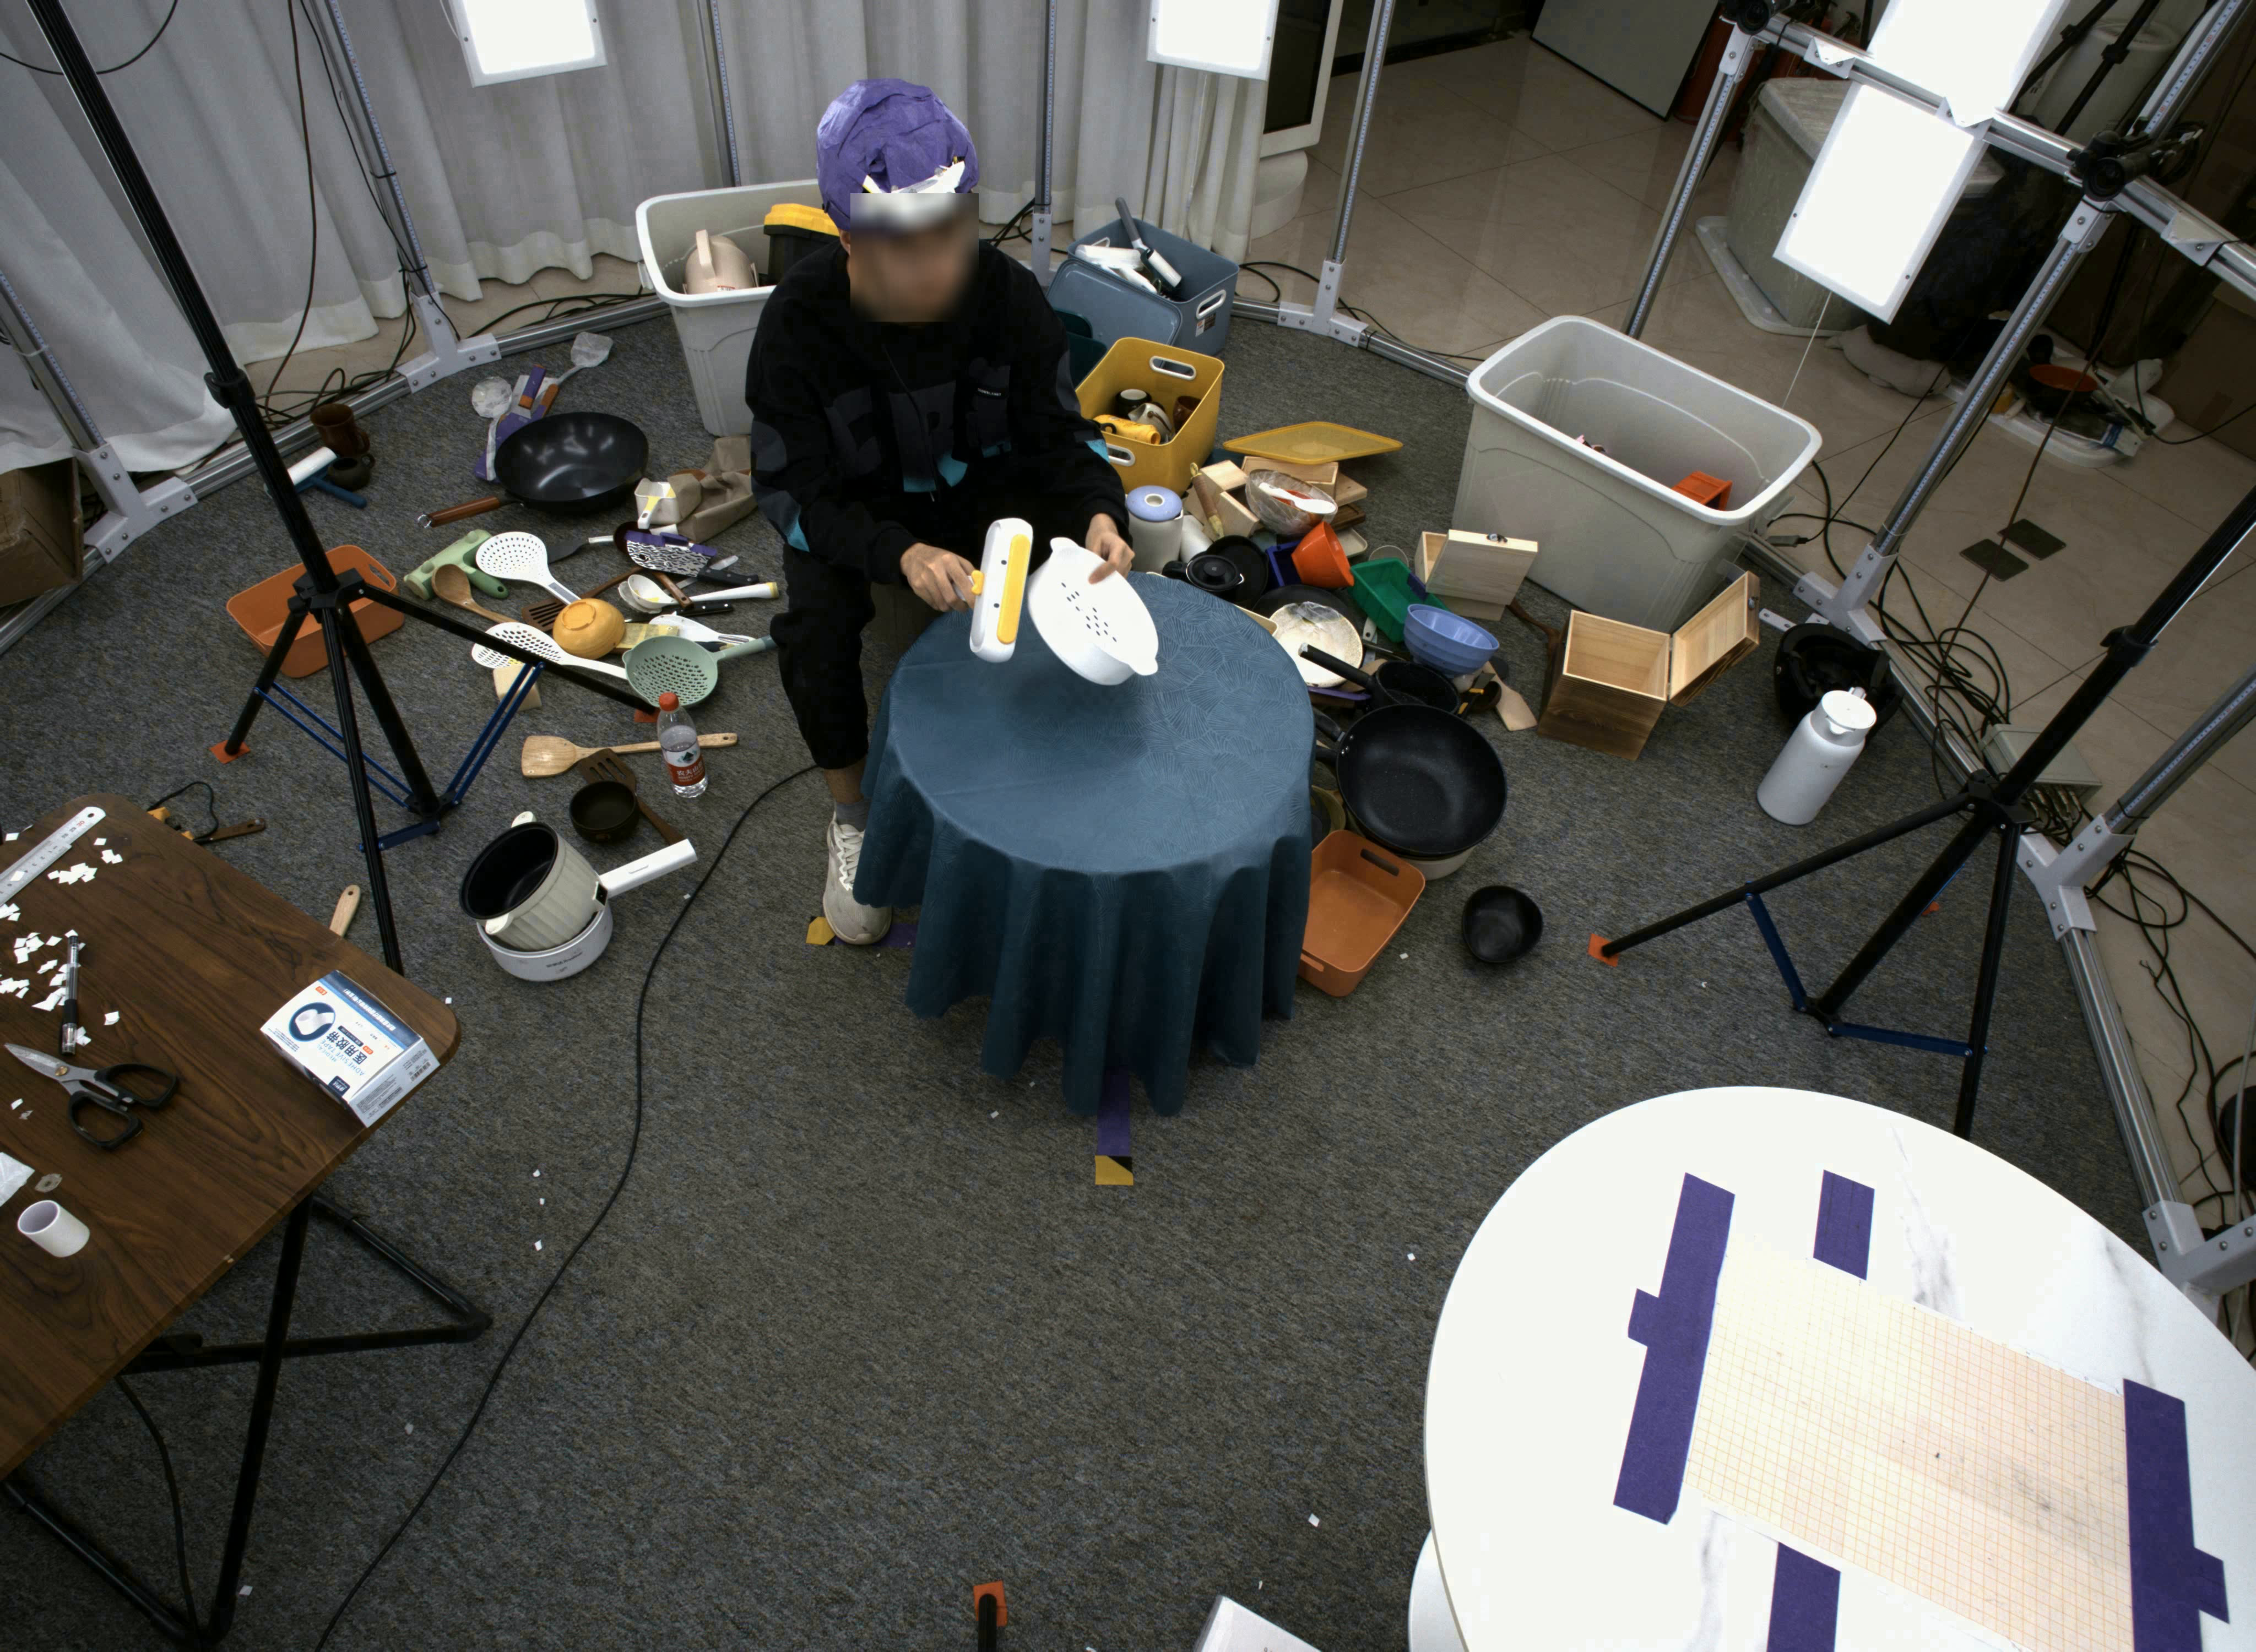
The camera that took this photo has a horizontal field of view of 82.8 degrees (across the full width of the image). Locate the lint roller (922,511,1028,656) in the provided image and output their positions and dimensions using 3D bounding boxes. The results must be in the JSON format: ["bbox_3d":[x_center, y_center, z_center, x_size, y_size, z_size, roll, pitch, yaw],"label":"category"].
[{"bbox_3d":[-0.210,-0.325,1.753,0.073,0.193,0.193,4,-1,-37],"label":"lint roller"}]

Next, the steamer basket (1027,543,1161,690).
[{"bbox_3d":[-0.049,-0.281,1.763,0.232,0.068,0.202,54,28,8],"label":"steamer basket"}]
